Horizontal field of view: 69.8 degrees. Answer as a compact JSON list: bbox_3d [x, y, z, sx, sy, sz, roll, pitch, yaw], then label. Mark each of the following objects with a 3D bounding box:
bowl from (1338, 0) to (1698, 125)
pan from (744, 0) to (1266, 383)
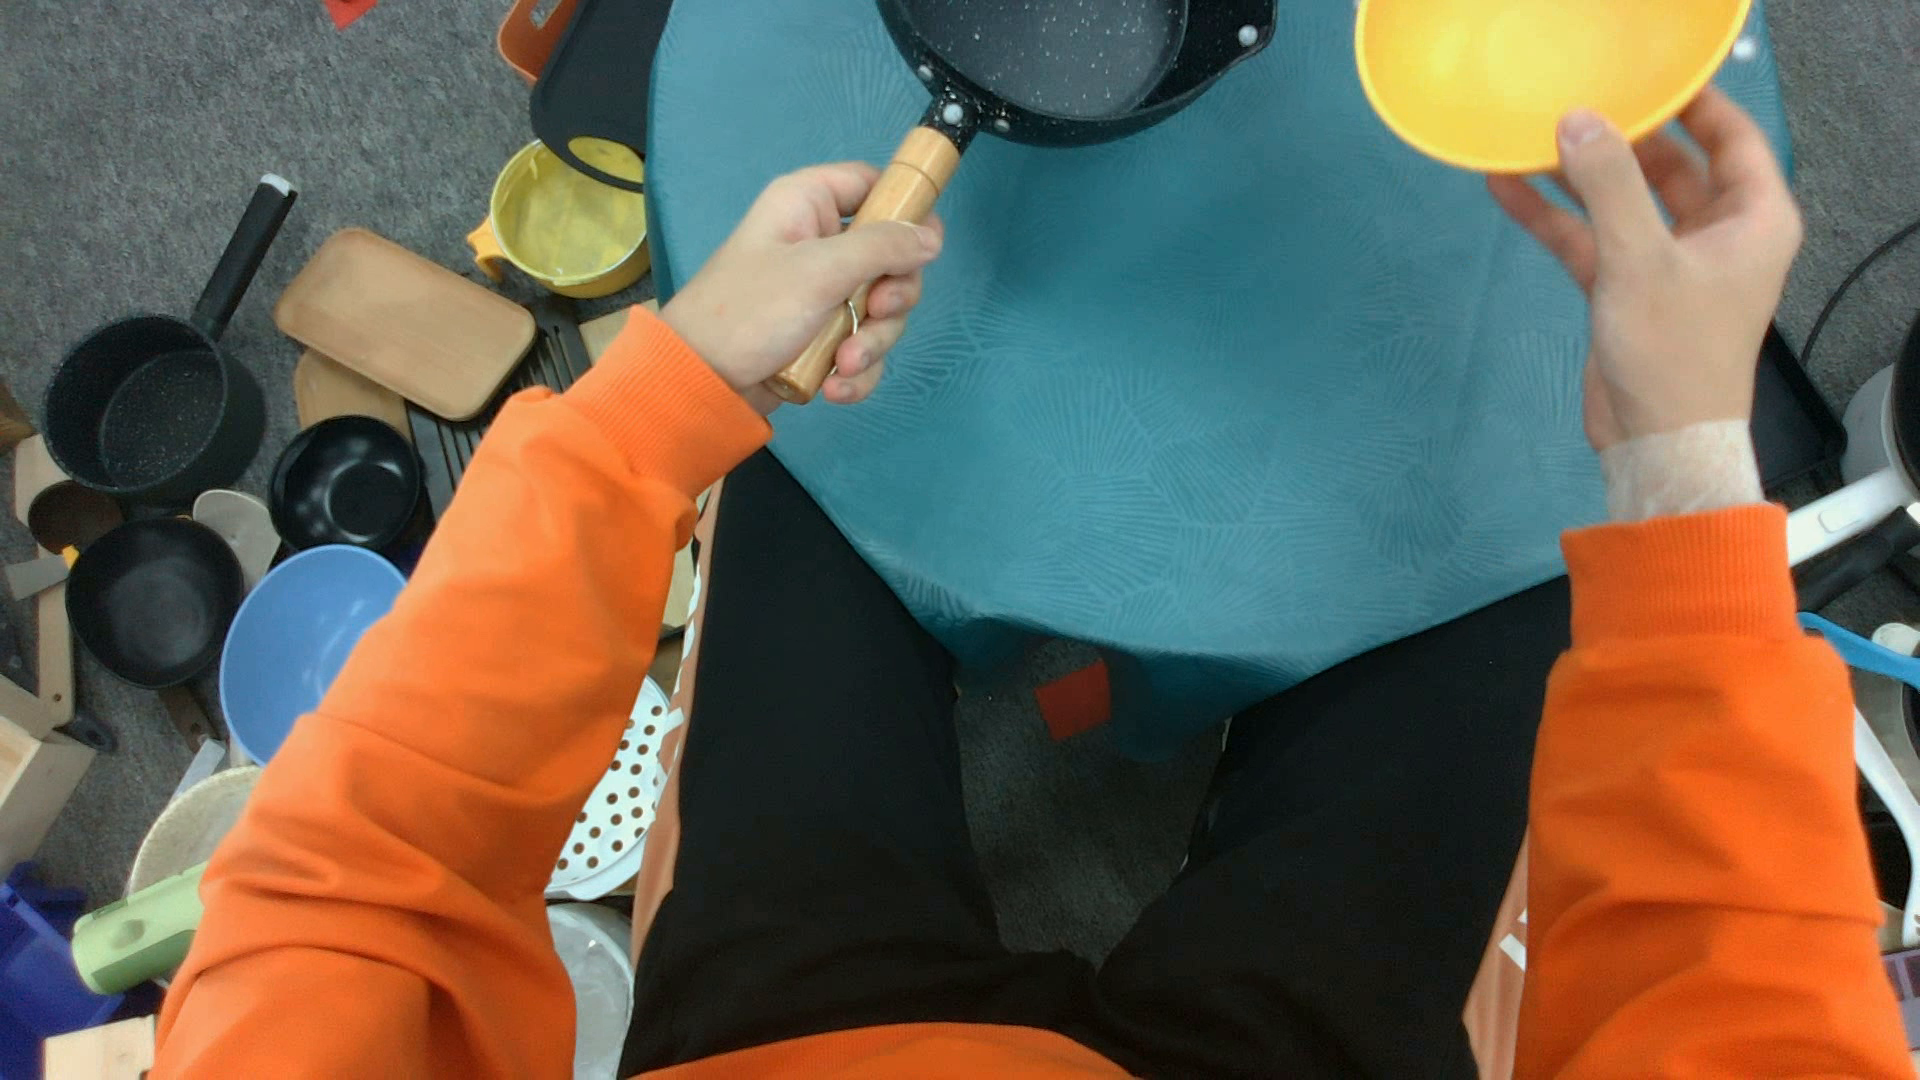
[{"bbox_3d":[0.226,-0.223,0.533,0.145,0.060,0.145,-7,79,40],"label":"bowl"},{"bbox_3d":[0.004,-0.208,0.610,0.207,0.108,0.343,31,82,-9],"label":"pan"}]
